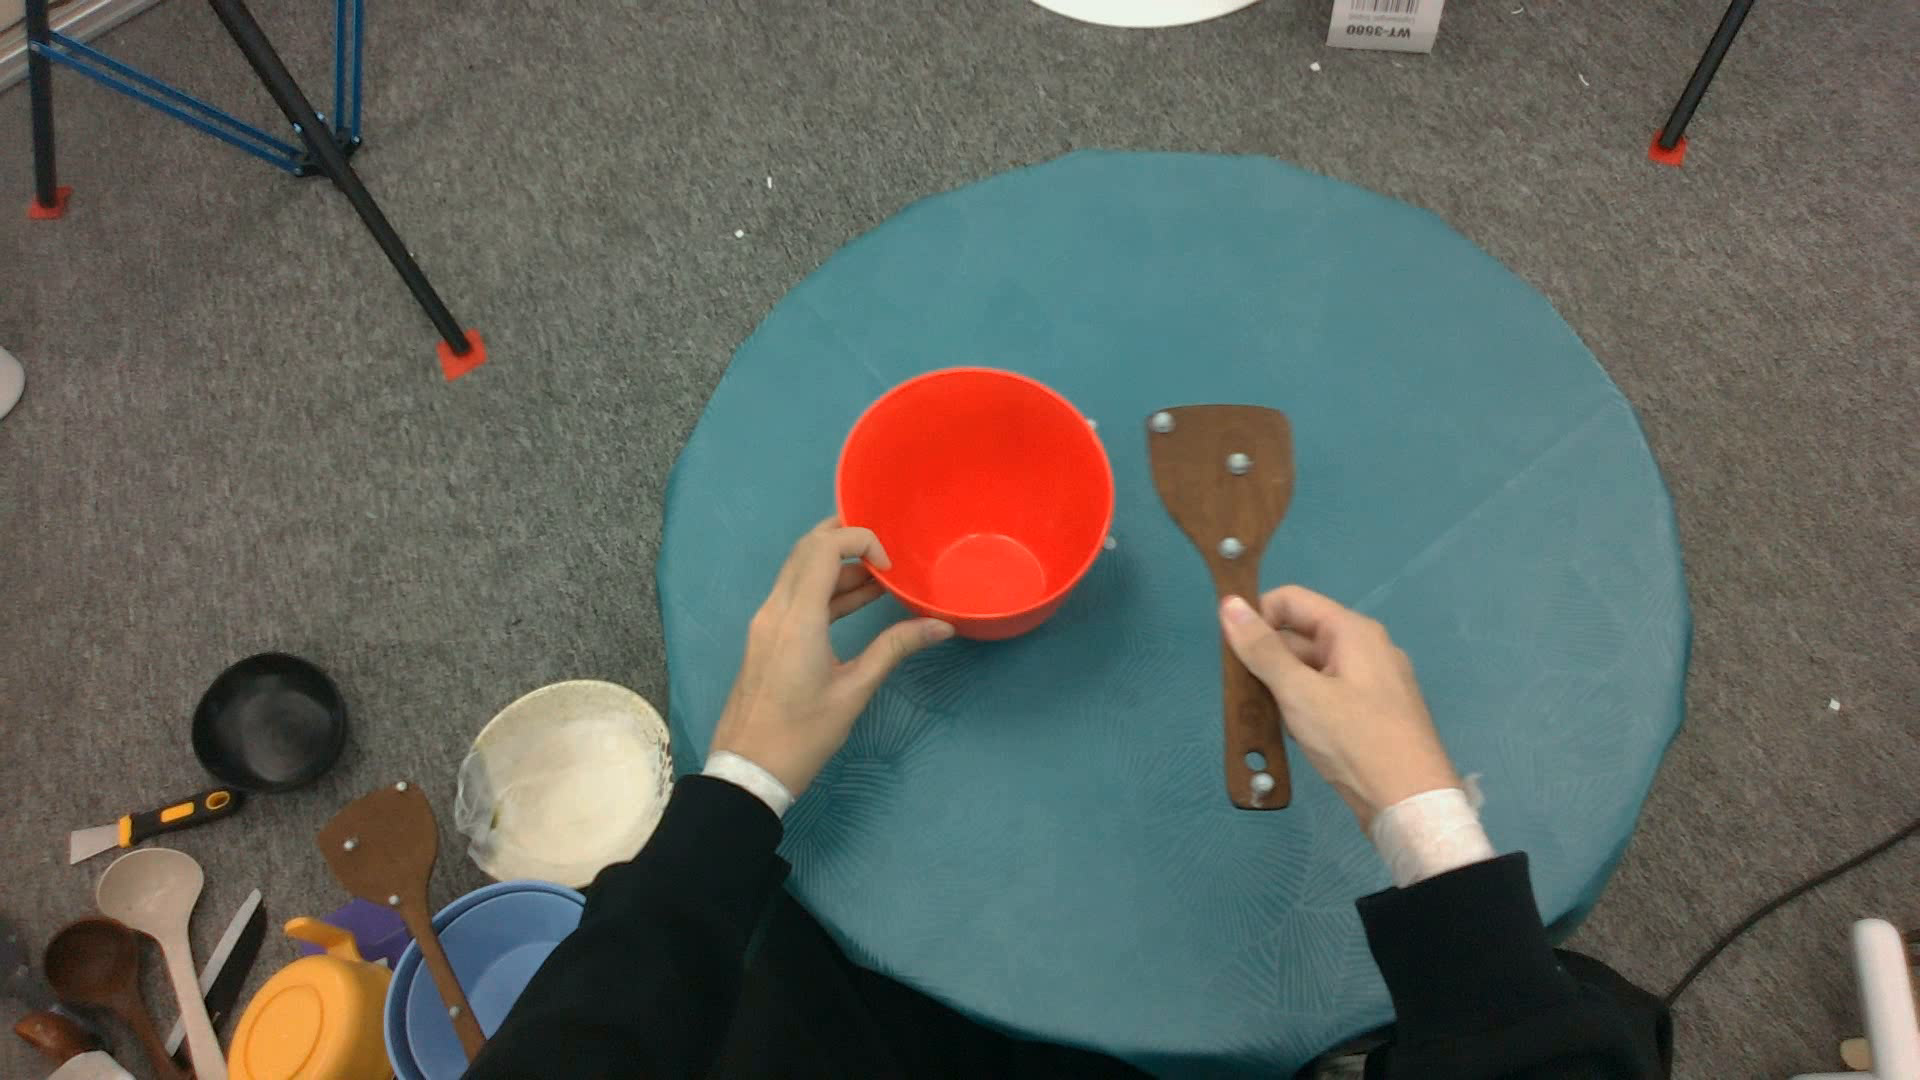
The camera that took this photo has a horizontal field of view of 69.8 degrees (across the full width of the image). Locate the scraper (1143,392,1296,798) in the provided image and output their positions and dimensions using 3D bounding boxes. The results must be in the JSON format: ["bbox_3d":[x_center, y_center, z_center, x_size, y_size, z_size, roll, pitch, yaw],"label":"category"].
[{"bbox_3d":[0.128,0.020,0.652,0.076,0.011,0.212,1,62,1],"label":"scraper"}]

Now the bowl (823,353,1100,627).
[{"bbox_3d":[0.002,-0.015,0.765,0.148,0.104,0.148,0,59,0],"label":"bowl"}]
